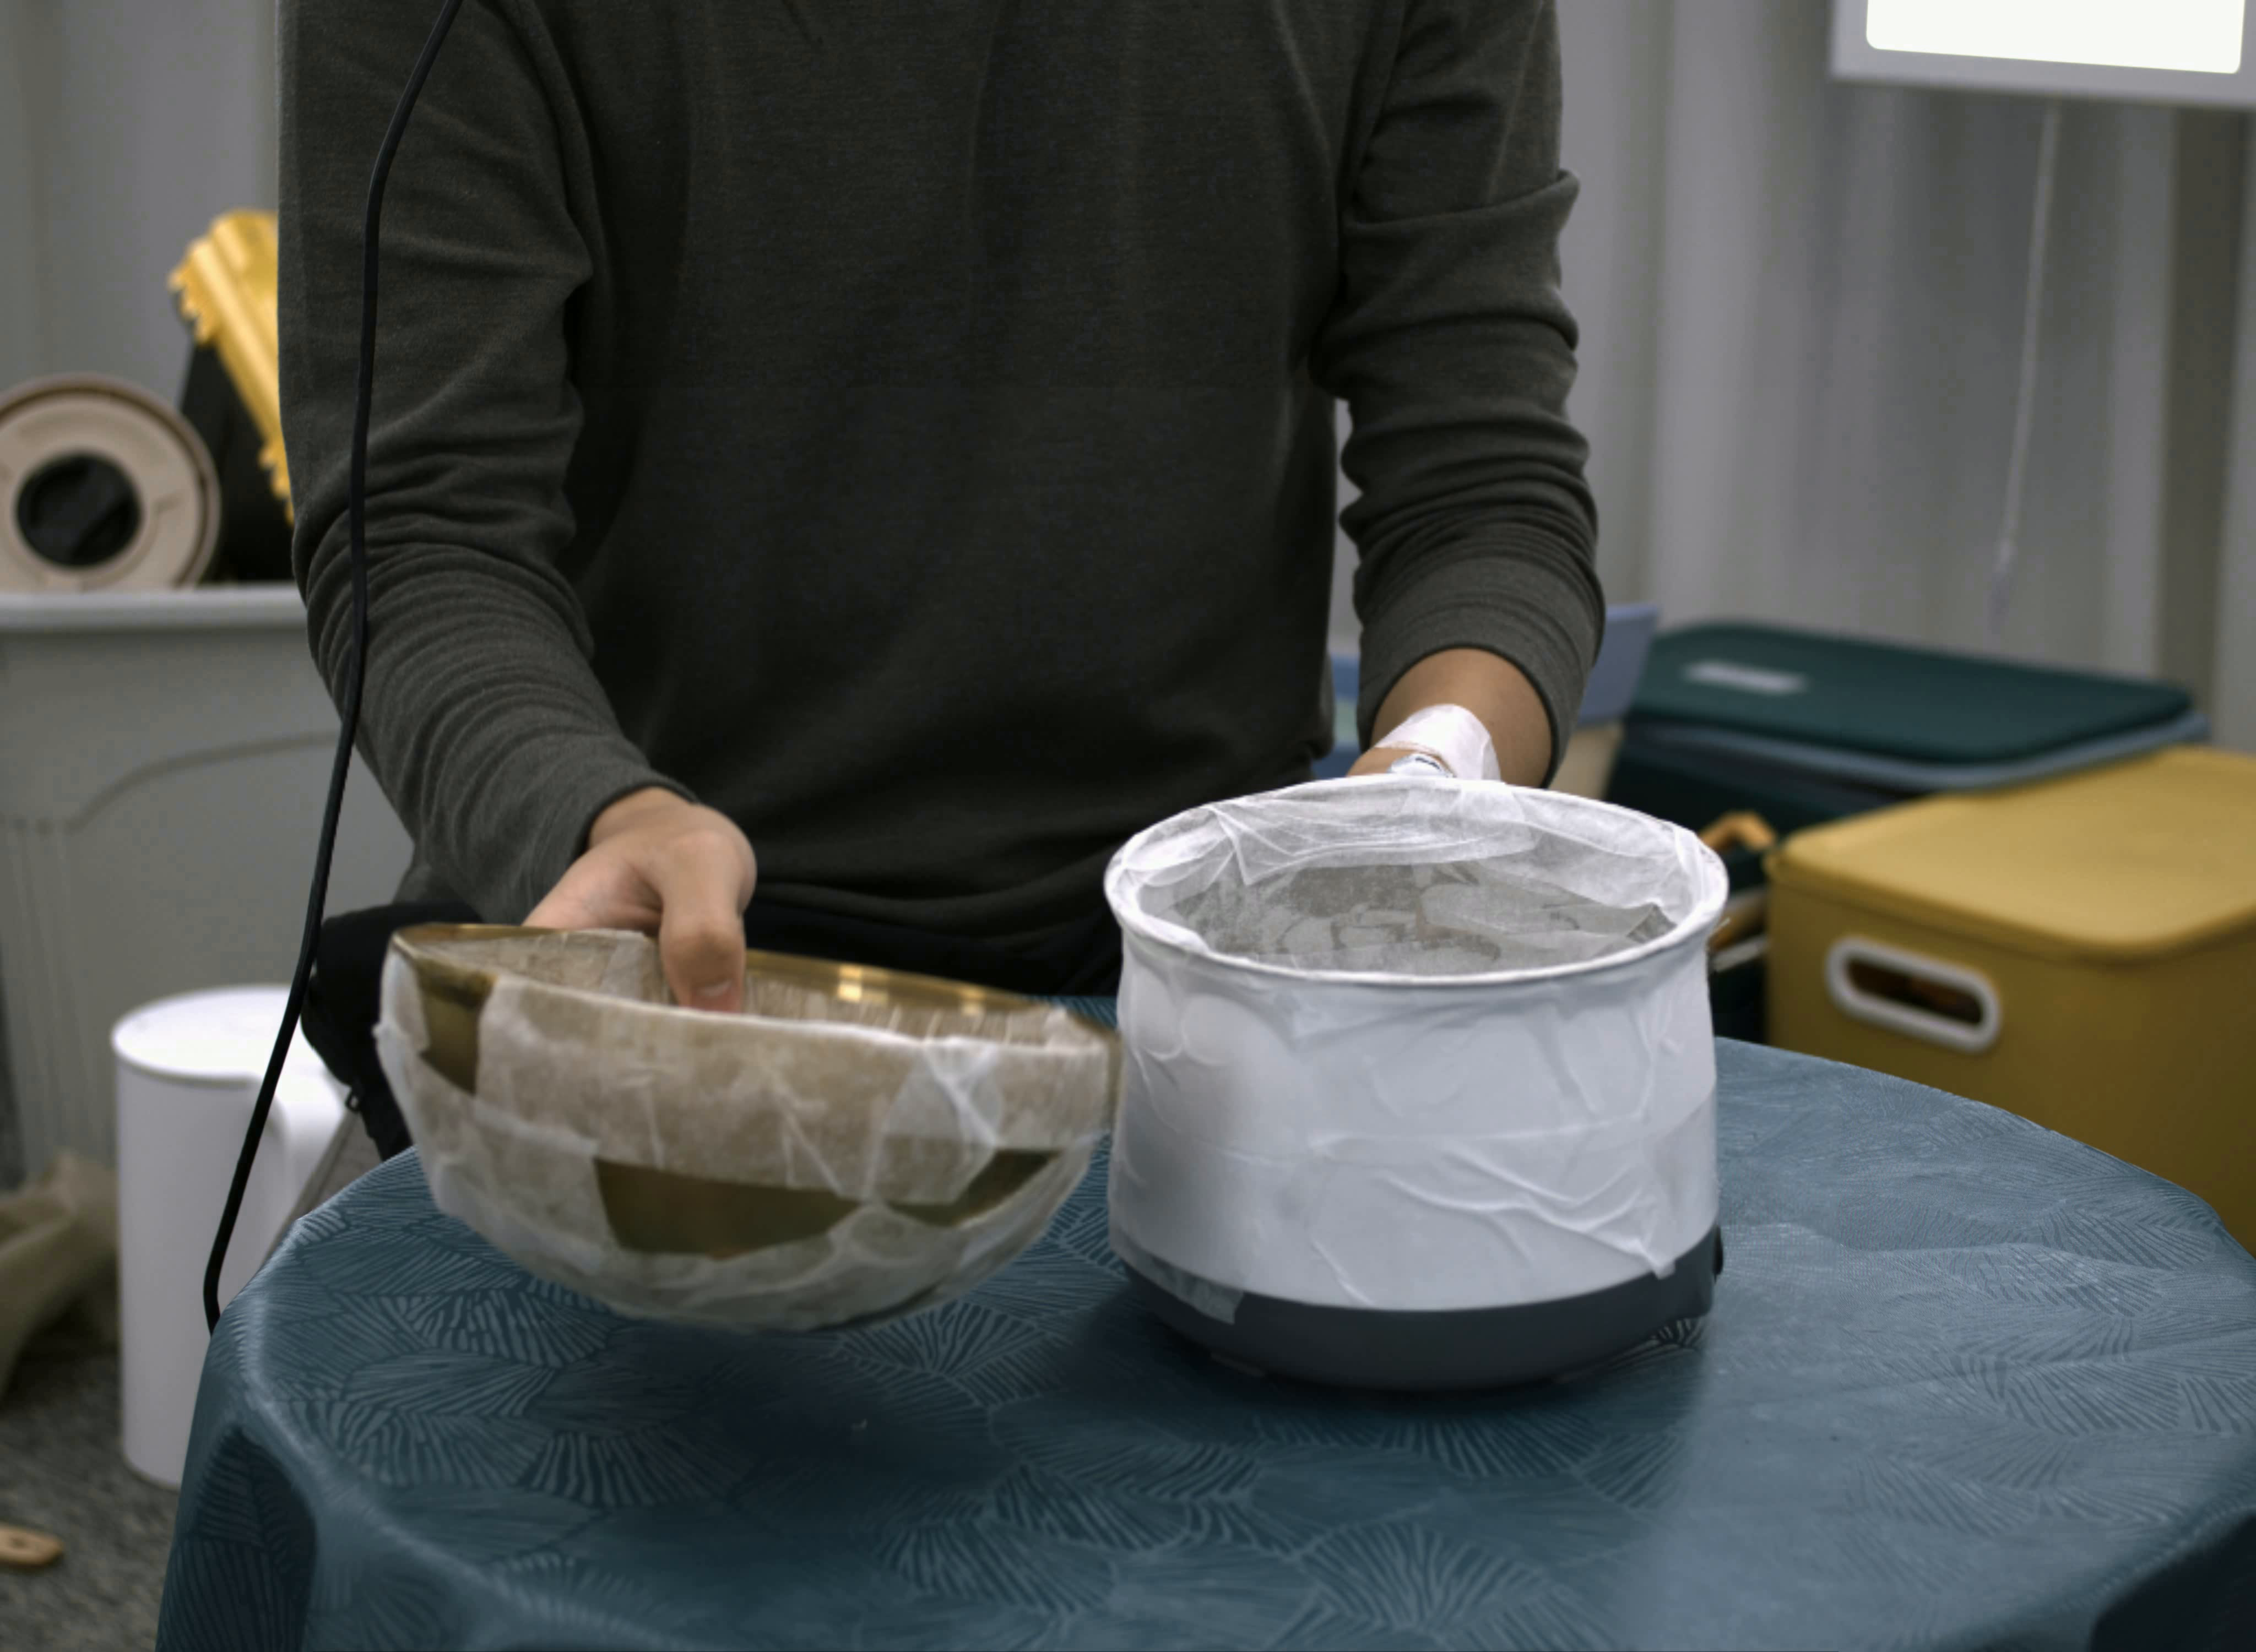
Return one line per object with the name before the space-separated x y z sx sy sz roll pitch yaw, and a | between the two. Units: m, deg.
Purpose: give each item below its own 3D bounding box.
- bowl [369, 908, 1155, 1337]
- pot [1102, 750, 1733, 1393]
bowl | -0.105 0.084 1.402 0.214 0.095 0.214 9 2 0
pot | 0.082 0.065 1.527 0.178 0.138 0.232 1 18 2
